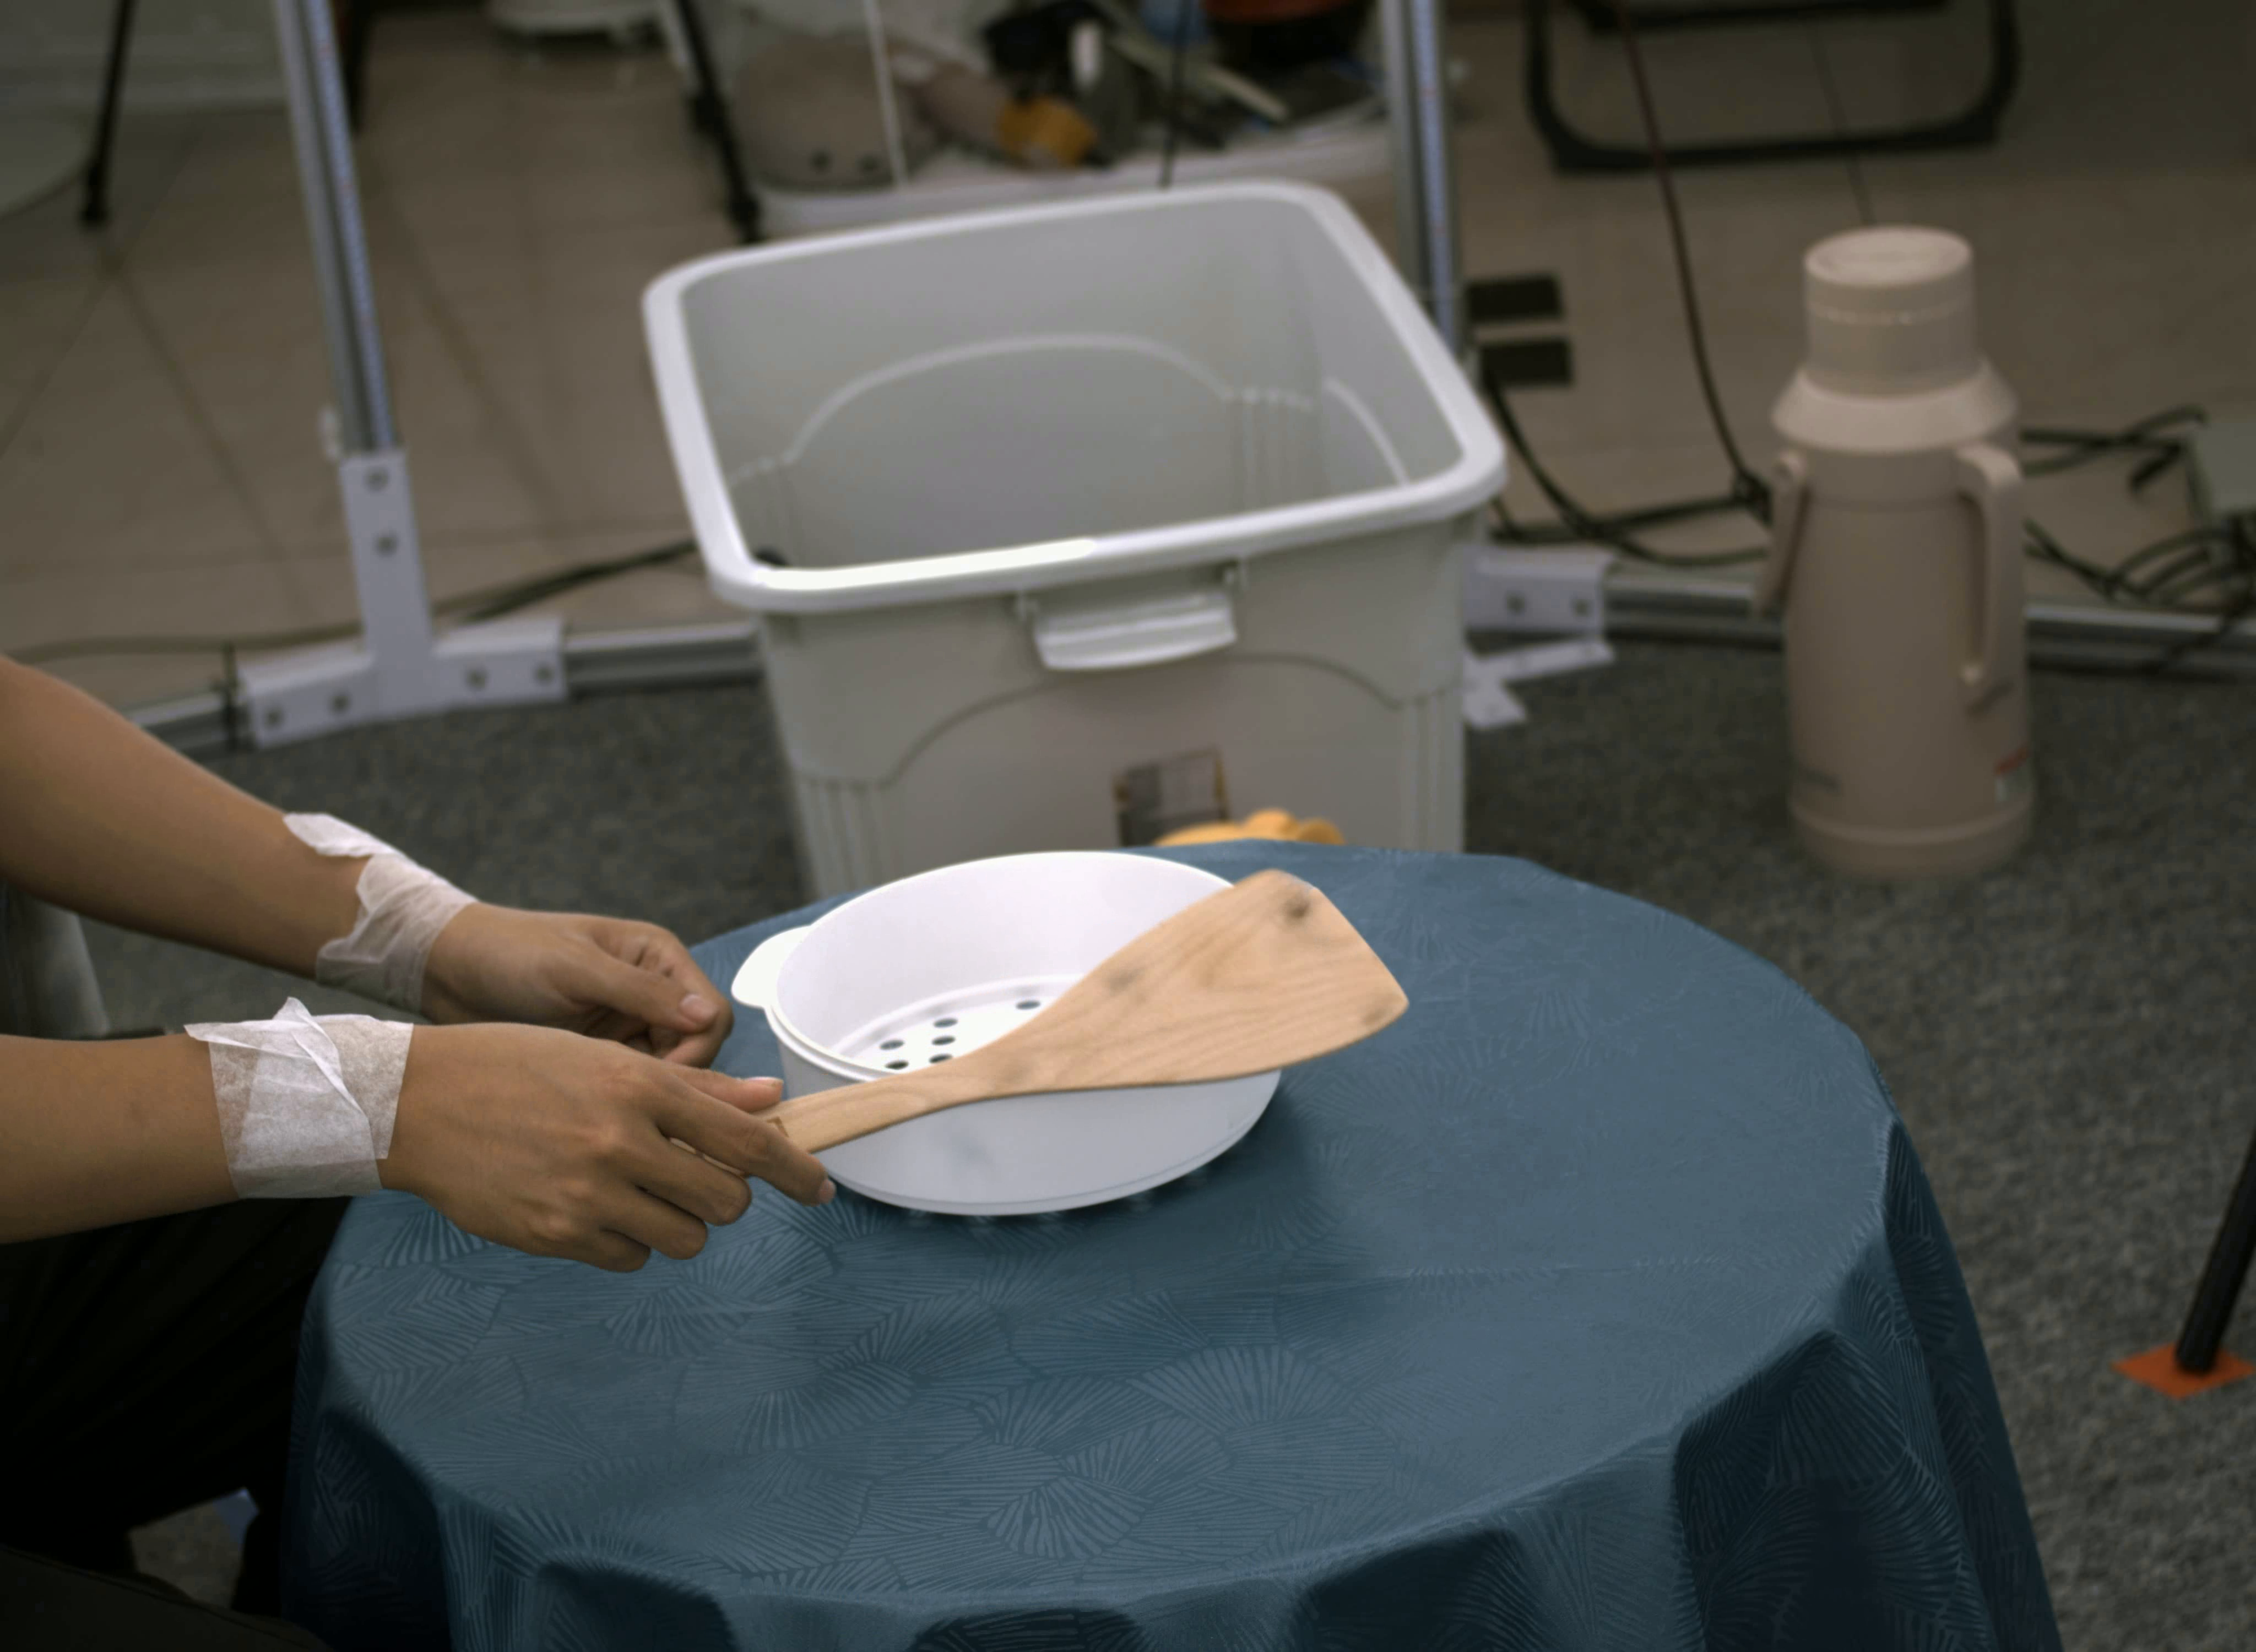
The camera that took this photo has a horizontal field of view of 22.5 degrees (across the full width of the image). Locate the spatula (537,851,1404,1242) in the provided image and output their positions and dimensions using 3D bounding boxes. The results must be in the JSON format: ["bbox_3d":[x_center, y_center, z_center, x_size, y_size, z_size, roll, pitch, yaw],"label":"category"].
[{"bbox_3d":[-0.060,0.085,2.031,0.326,0.017,0.079,-19,64,-20],"label":"spatula"}]

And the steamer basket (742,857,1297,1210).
[{"bbox_3d":[-0.034,0.080,2.201,0.230,0.070,0.199,2,24,15],"label":"steamer basket"}]
